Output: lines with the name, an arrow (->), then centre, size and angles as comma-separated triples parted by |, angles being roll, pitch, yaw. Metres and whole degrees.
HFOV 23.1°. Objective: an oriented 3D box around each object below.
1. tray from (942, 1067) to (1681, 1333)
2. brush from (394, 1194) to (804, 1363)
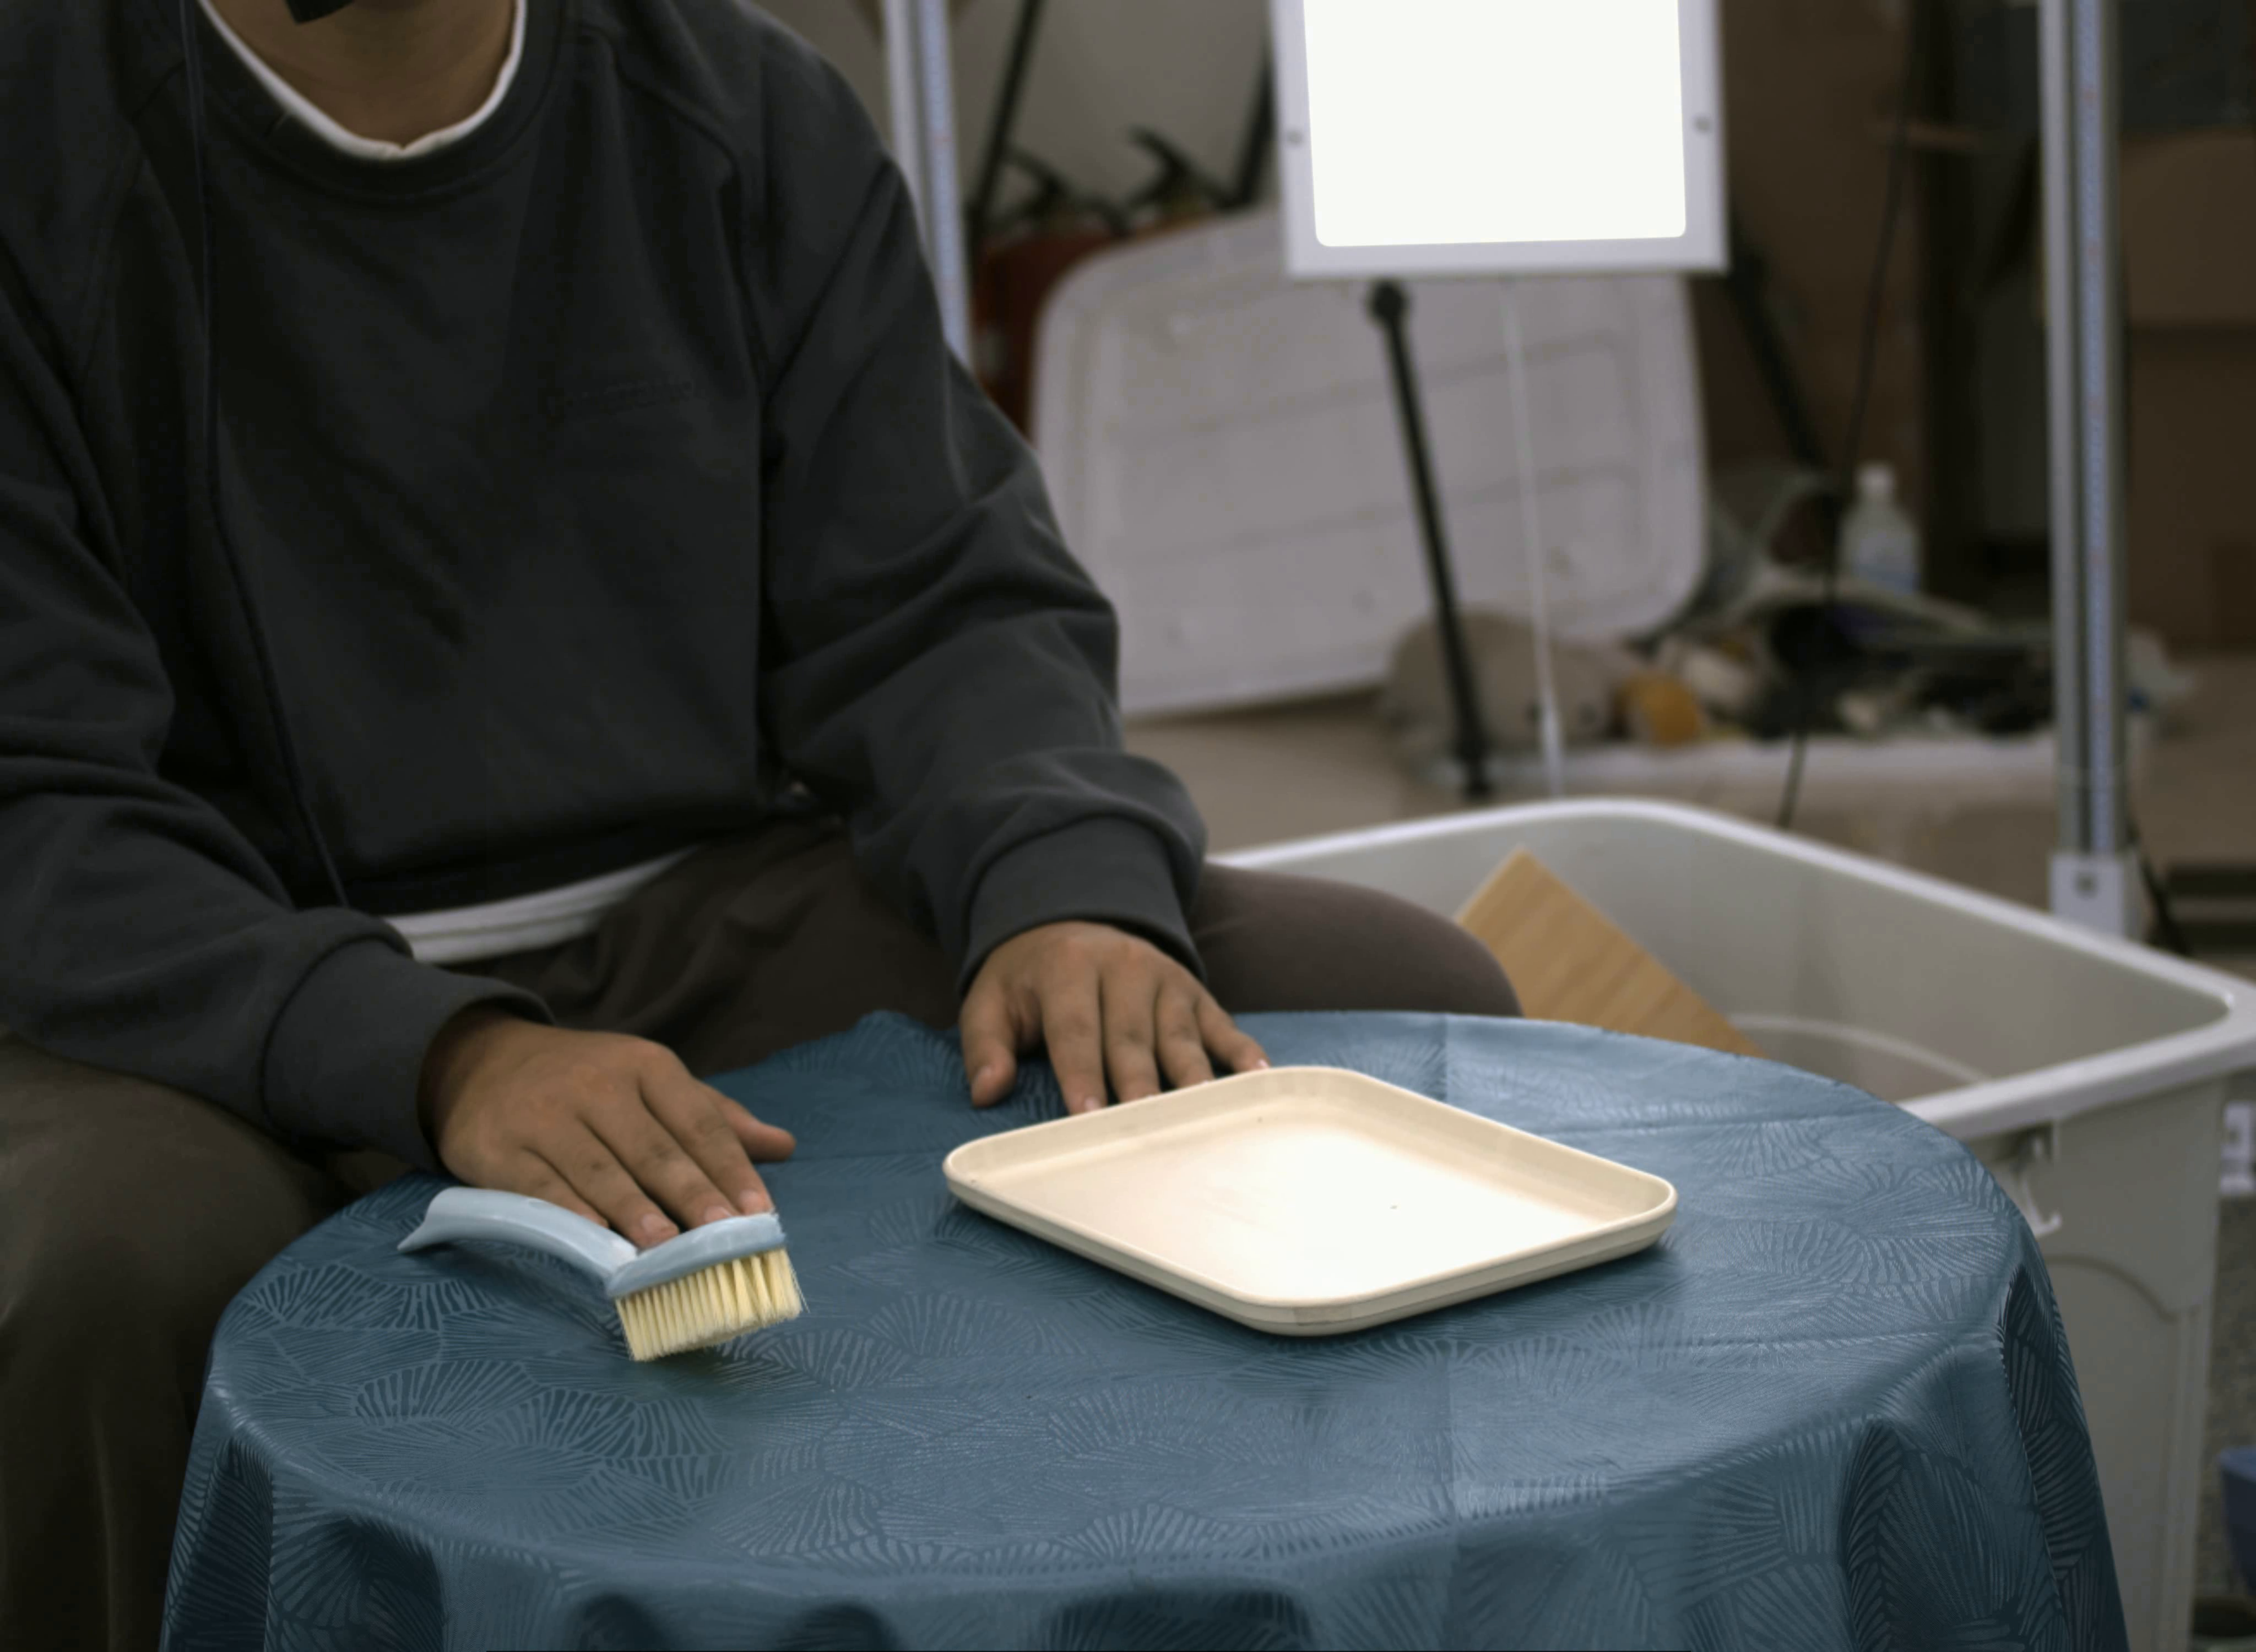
tray -> 0.059, 0.125, 1.847 | 0.167, 0.017, 0.244 | -12, 15, -29
brush -> -0.178, 0.147, 1.812 | 0.037, 0.050, 0.234 | -7, 3, -37
